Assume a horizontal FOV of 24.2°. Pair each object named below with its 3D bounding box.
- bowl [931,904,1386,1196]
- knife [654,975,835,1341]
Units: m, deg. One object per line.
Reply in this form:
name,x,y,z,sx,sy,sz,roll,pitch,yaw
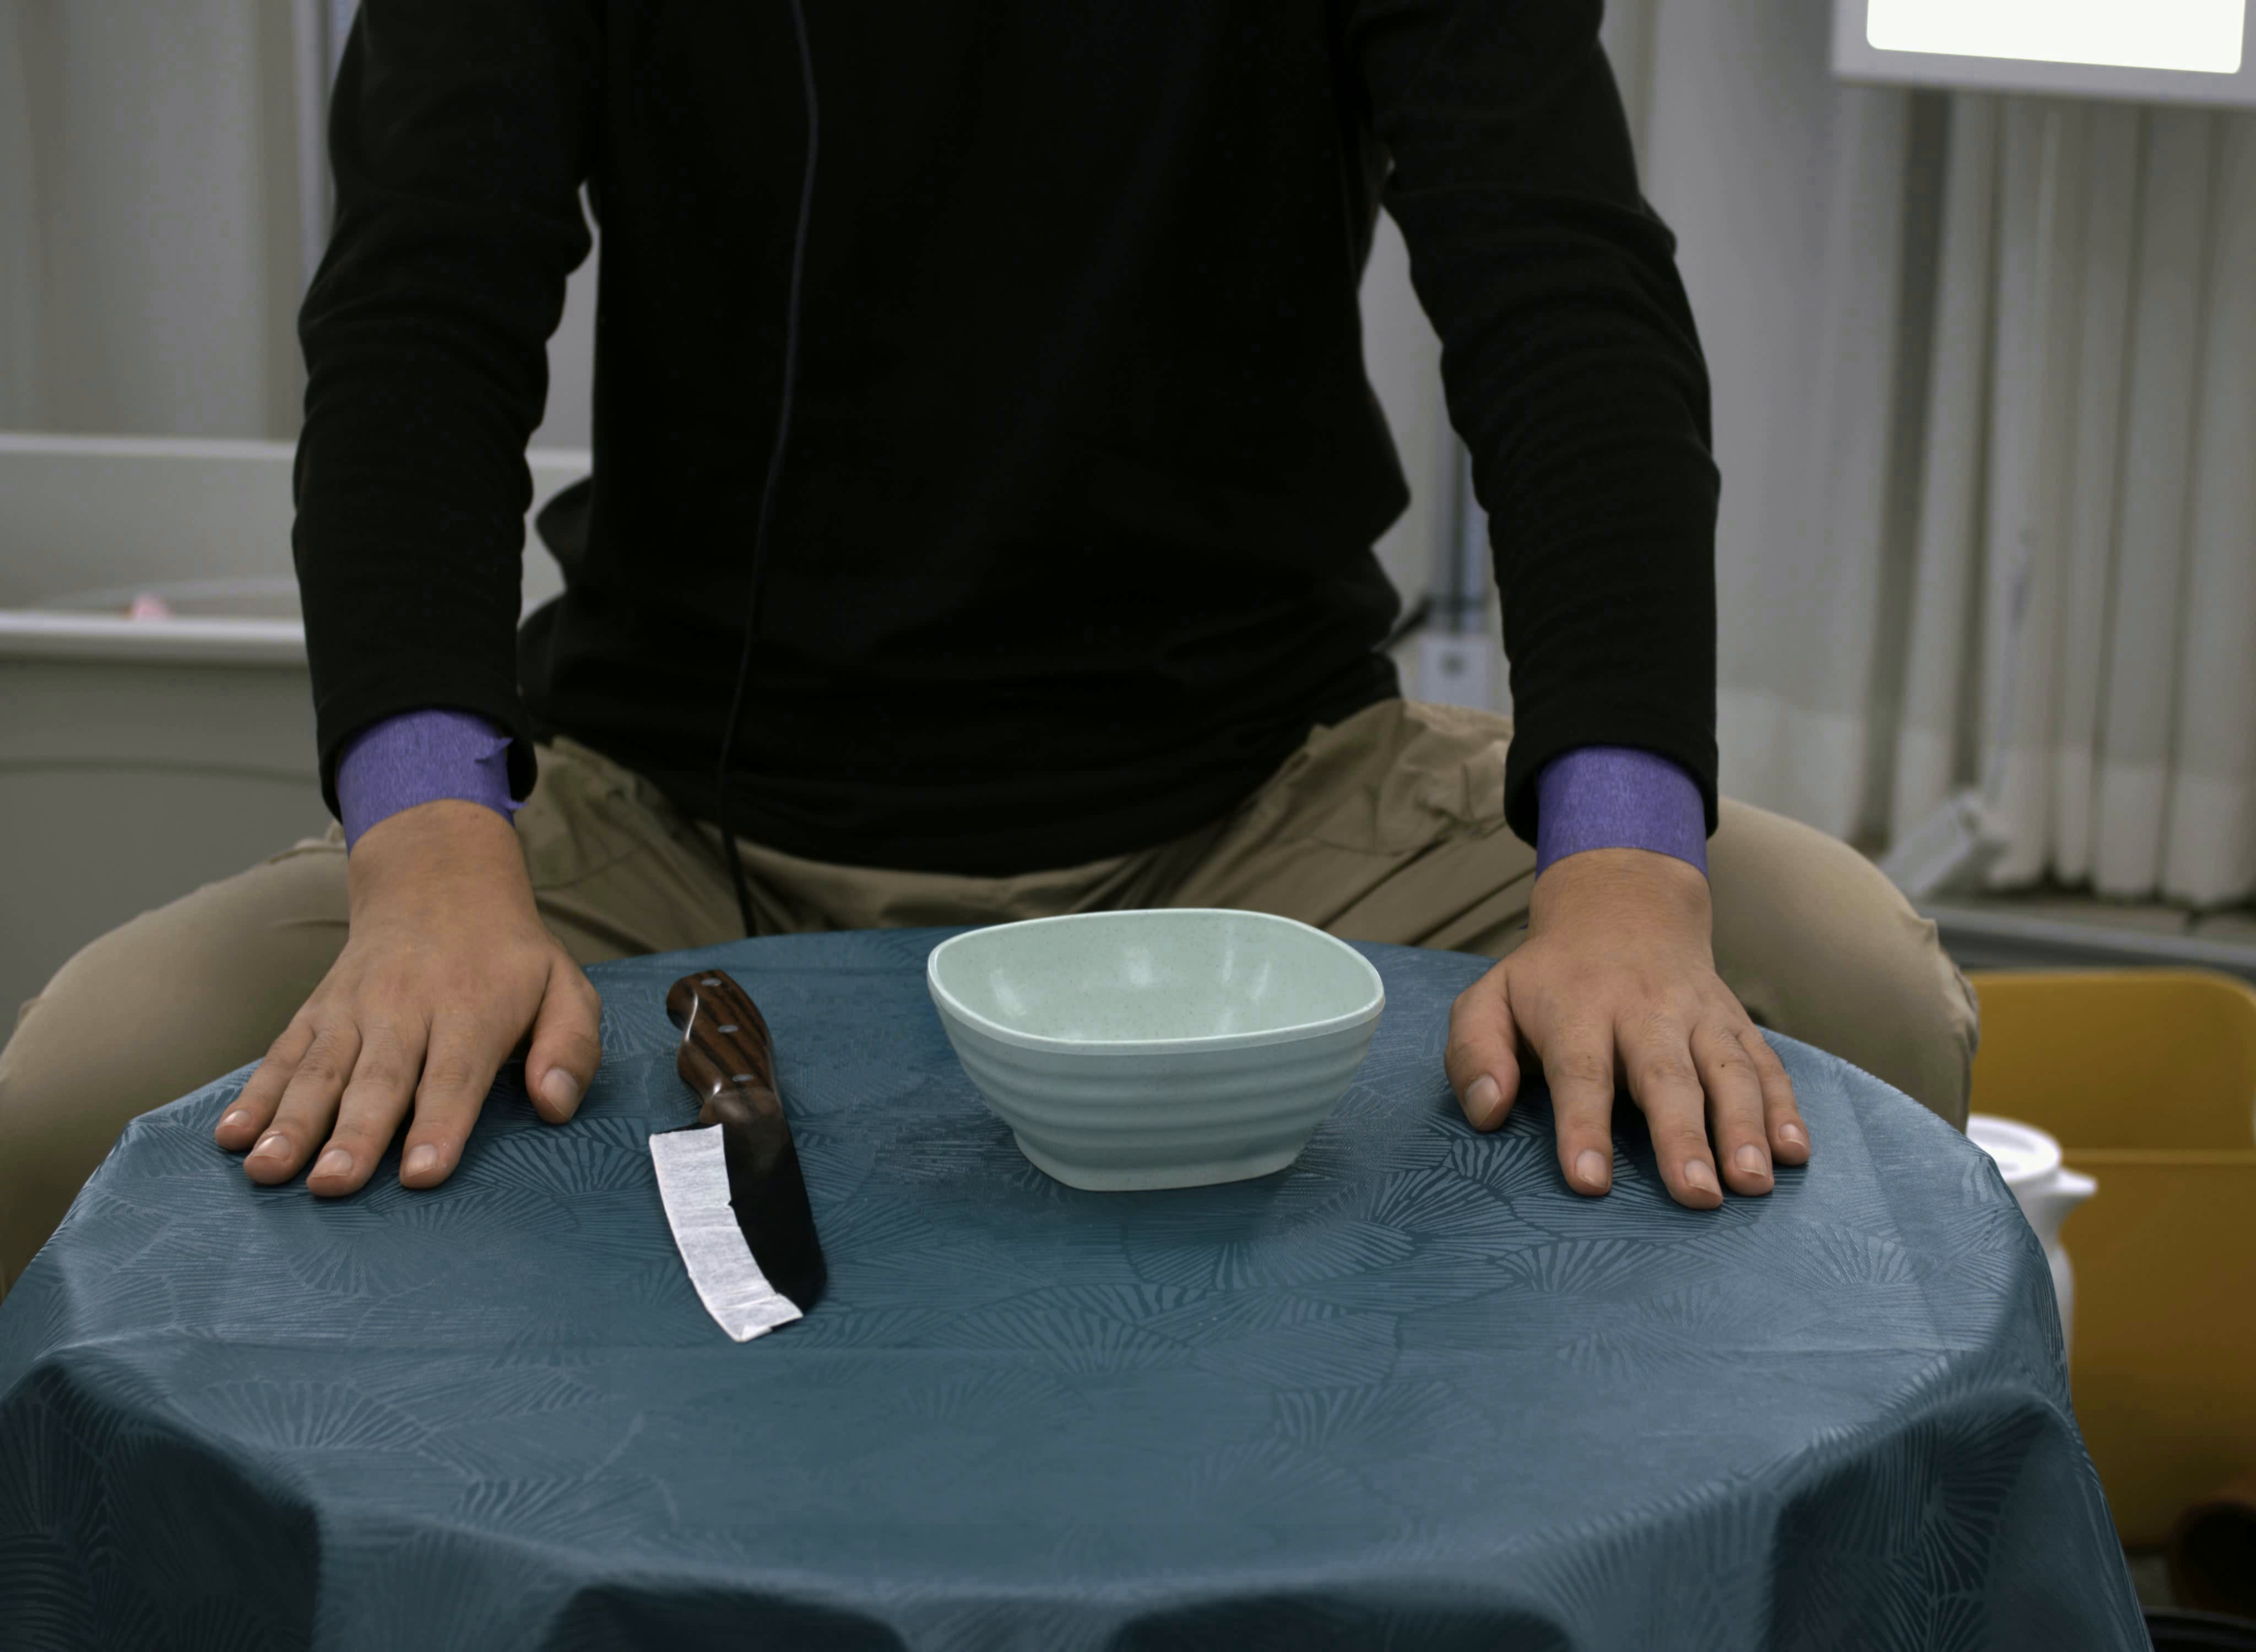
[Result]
bowl,0.009,0.074,1.658,0.151,0.059,0.150,1,17,0
knife,-0.122,0.102,1.630,0.050,0.020,0.287,-6,19,-5
